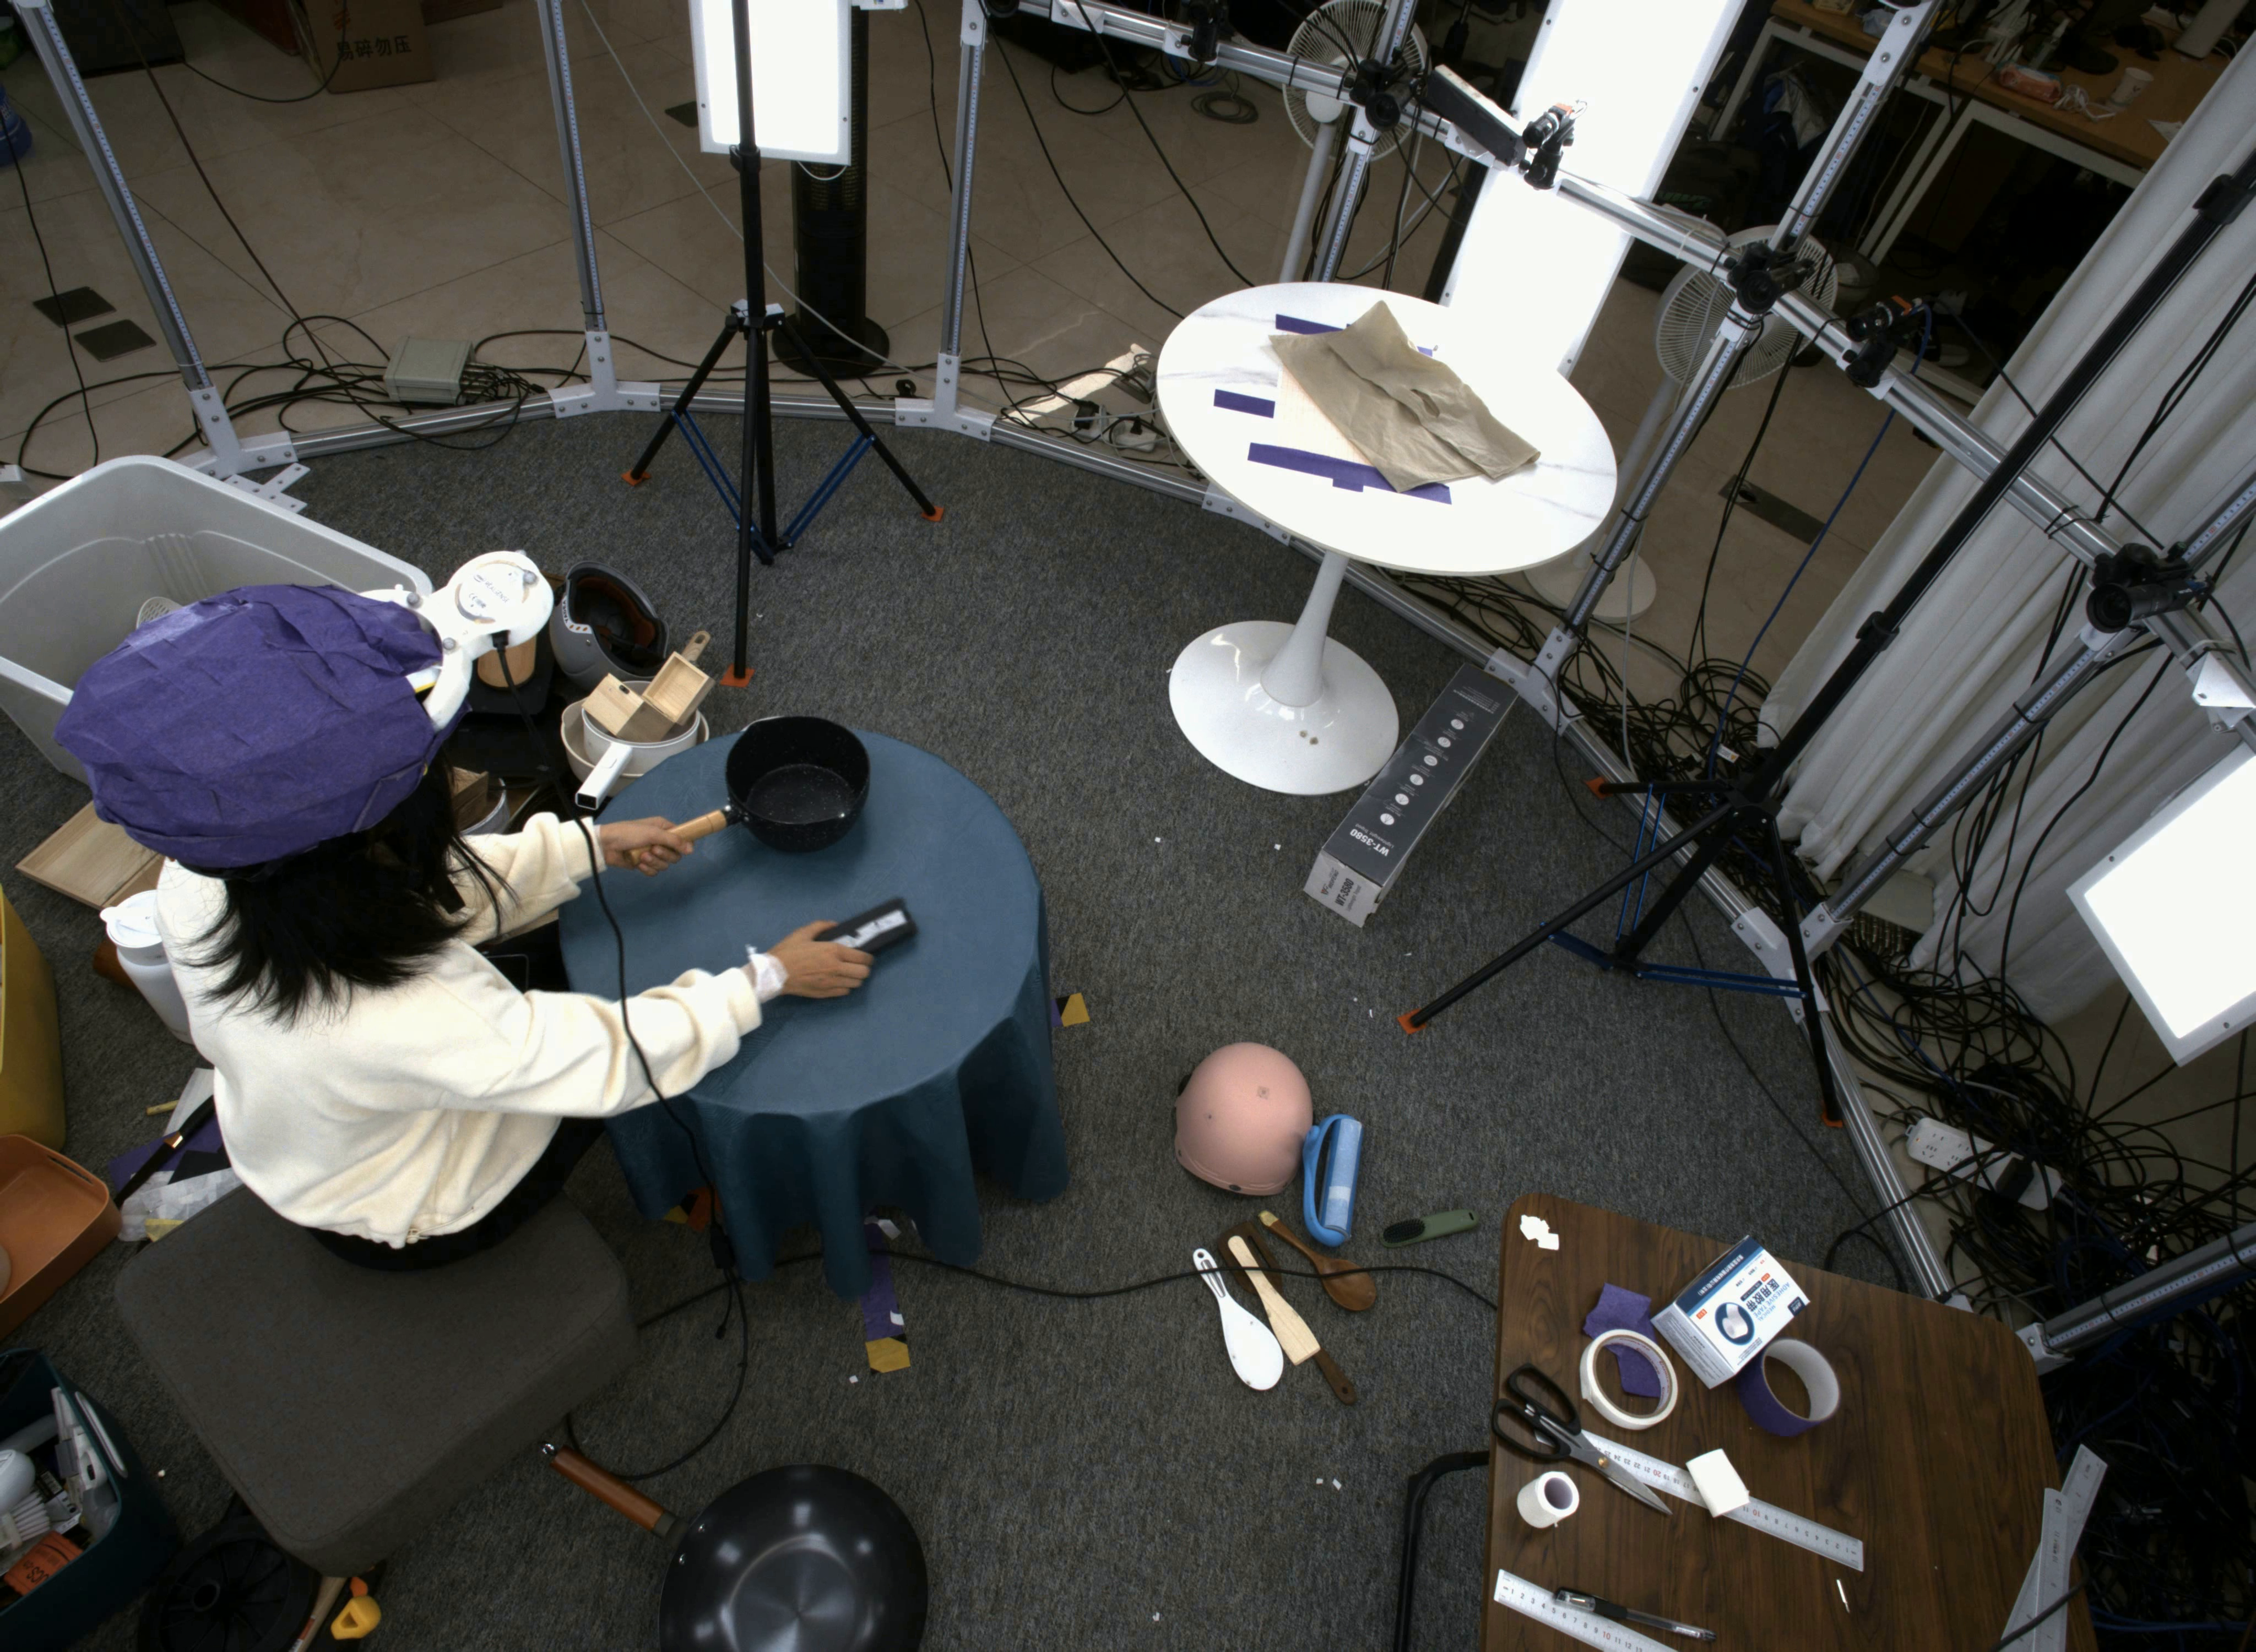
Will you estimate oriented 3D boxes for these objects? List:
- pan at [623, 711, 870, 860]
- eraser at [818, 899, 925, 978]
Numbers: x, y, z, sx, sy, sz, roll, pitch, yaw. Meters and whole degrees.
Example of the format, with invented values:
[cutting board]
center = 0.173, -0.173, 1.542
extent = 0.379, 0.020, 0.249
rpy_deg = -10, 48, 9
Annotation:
[pan]
center = -0.485, -0.021, 1.648
extent = 0.203, 0.110, 0.344
rpy_deg = 42, 54, 17
[eraser]
center = -0.320, 0.137, 1.618
extent = 0.126, 0.030, 0.053
rpy_deg = -25, 76, -30
